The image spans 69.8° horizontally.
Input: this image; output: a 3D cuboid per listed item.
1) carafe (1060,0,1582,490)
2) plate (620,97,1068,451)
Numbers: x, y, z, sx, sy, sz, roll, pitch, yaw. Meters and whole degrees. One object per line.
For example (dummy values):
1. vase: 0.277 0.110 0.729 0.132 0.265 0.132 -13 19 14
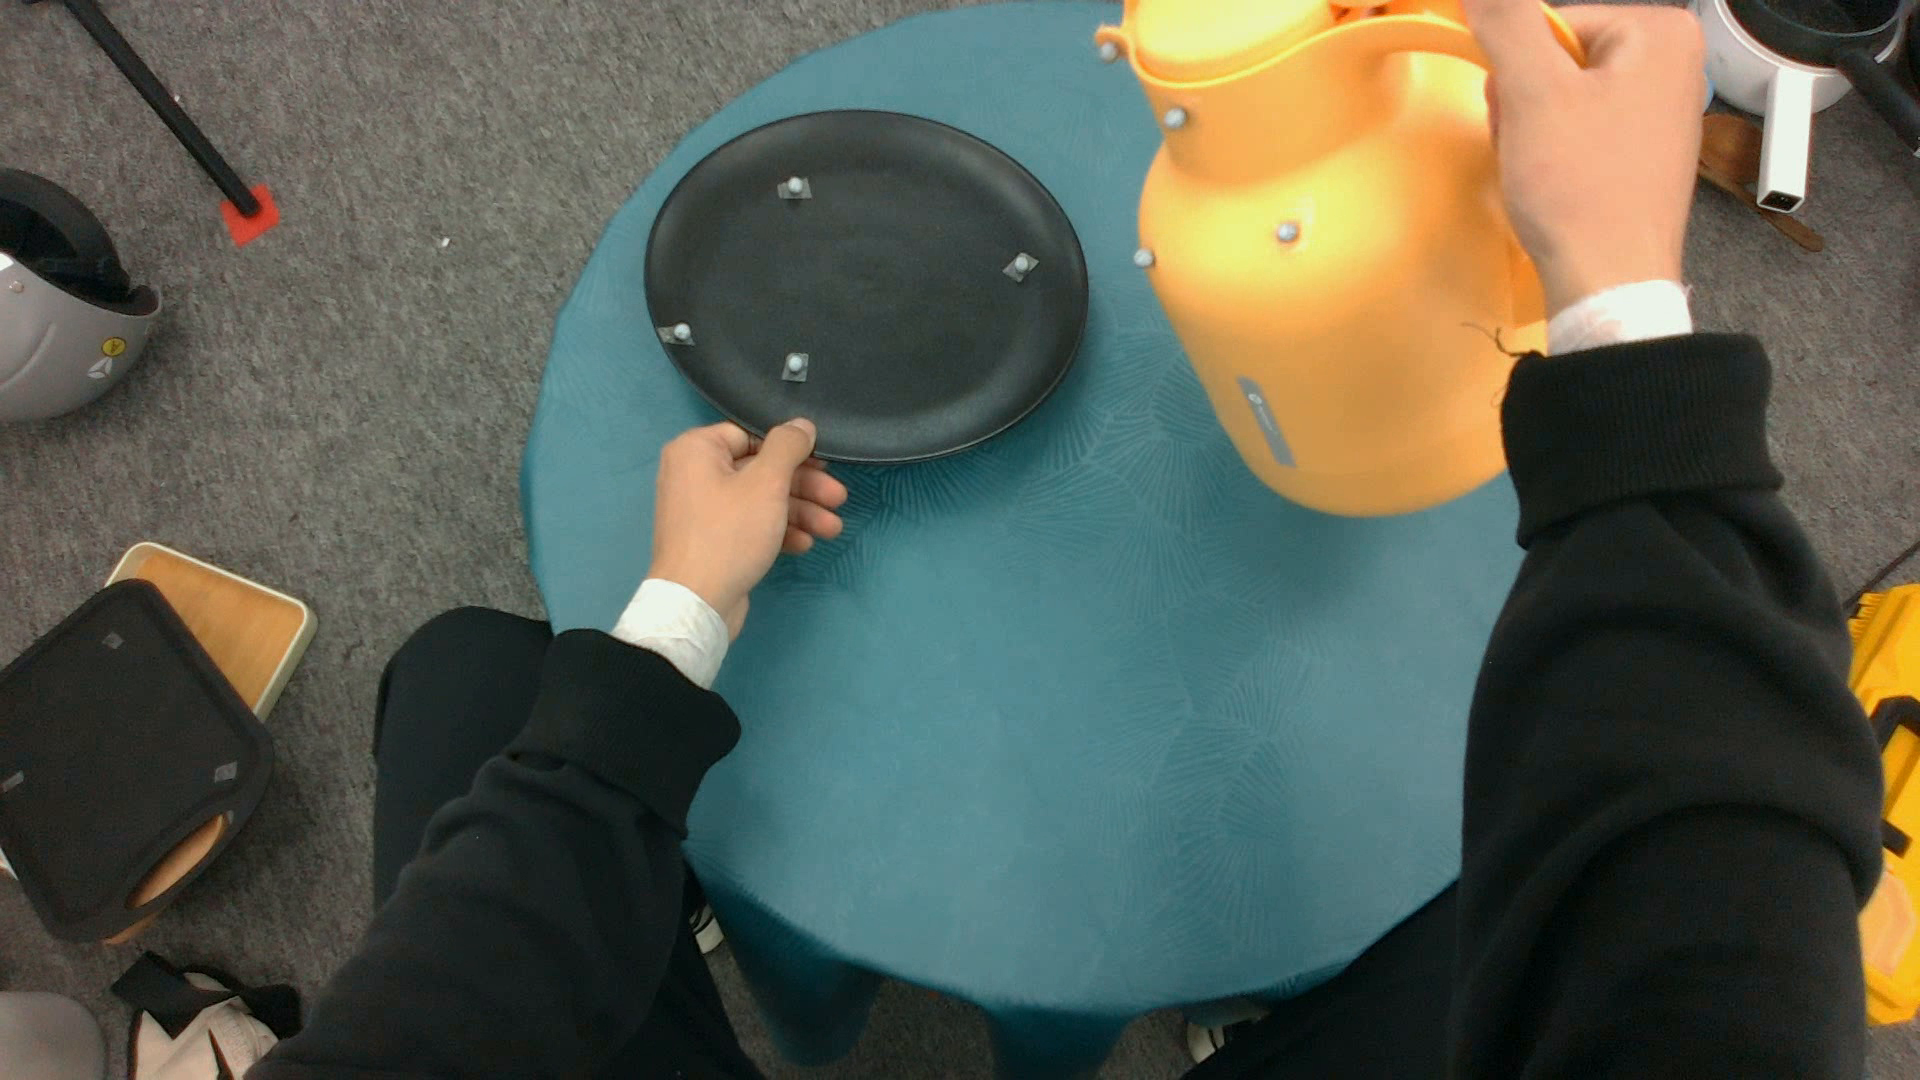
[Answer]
1. carafe: 0.164 -0.143 0.593 0.202 0.260 0.164 18 70 44
2. plate: -0.062 -0.148 0.759 0.244 0.023 0.245 3 61 -6
